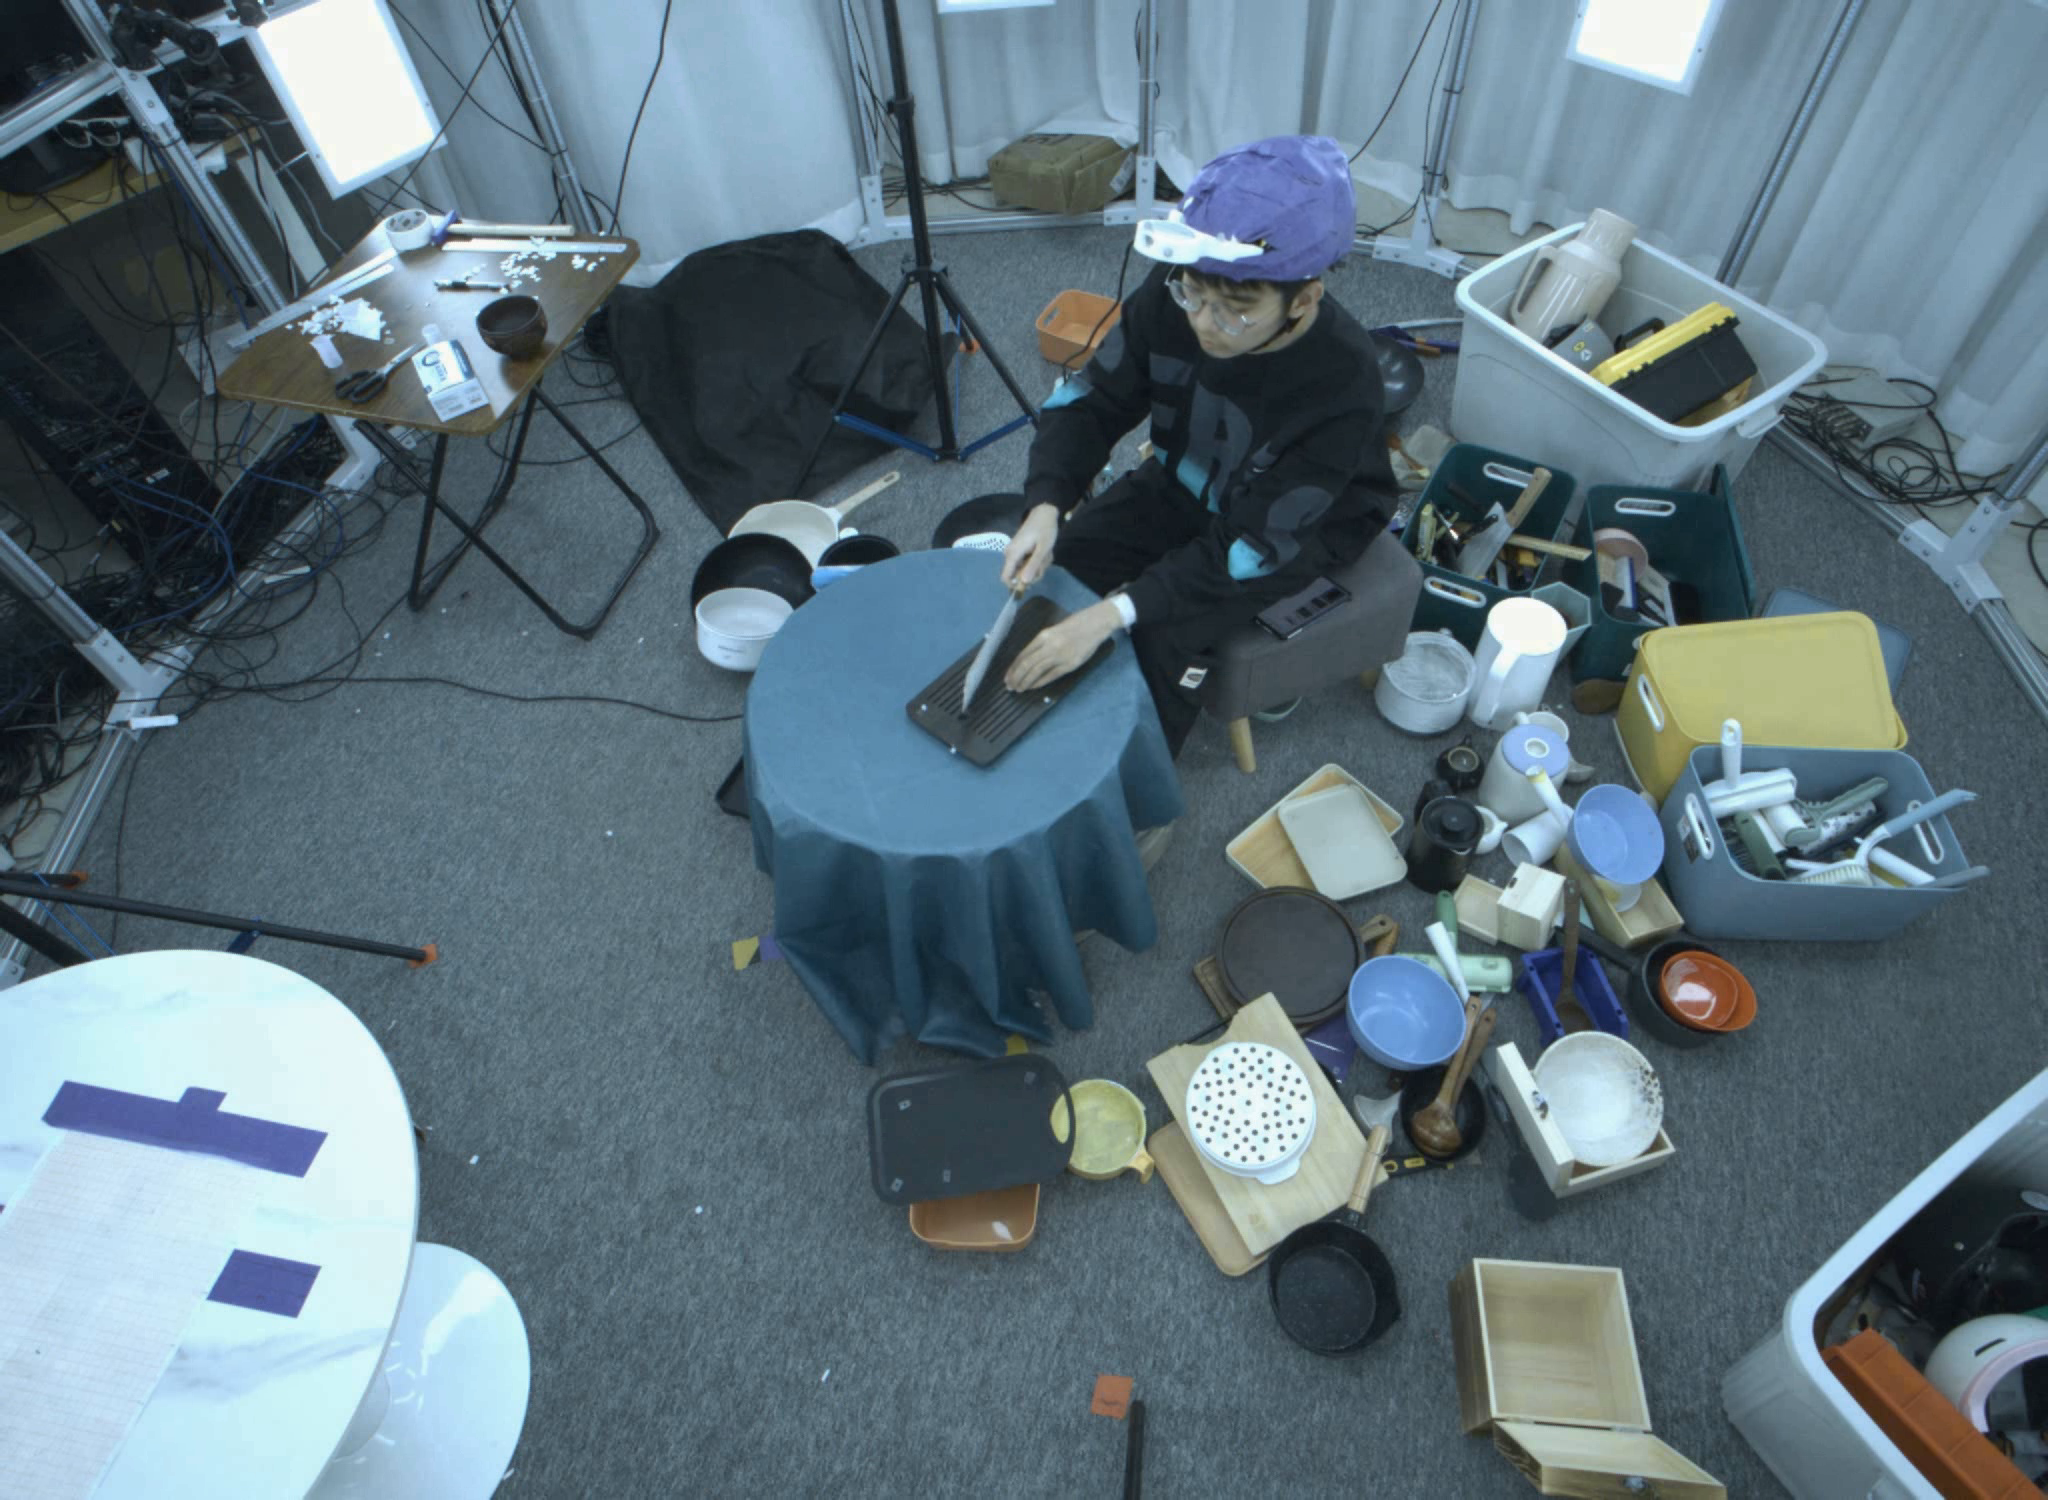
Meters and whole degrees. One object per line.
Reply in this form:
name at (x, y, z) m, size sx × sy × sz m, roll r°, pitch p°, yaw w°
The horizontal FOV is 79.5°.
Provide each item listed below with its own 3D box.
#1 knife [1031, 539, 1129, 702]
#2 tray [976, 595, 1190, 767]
knife at (0.081, -0.193, 1.839) m, size 0.021 × 0.093 × 0.306 m, roll 26°, pitch 59°, yaw 9°
tray at (0.090, -0.107, 1.847) m, size 0.308 × 0.019 × 0.167 m, roll -39°, pitch 62°, yaw -22°
